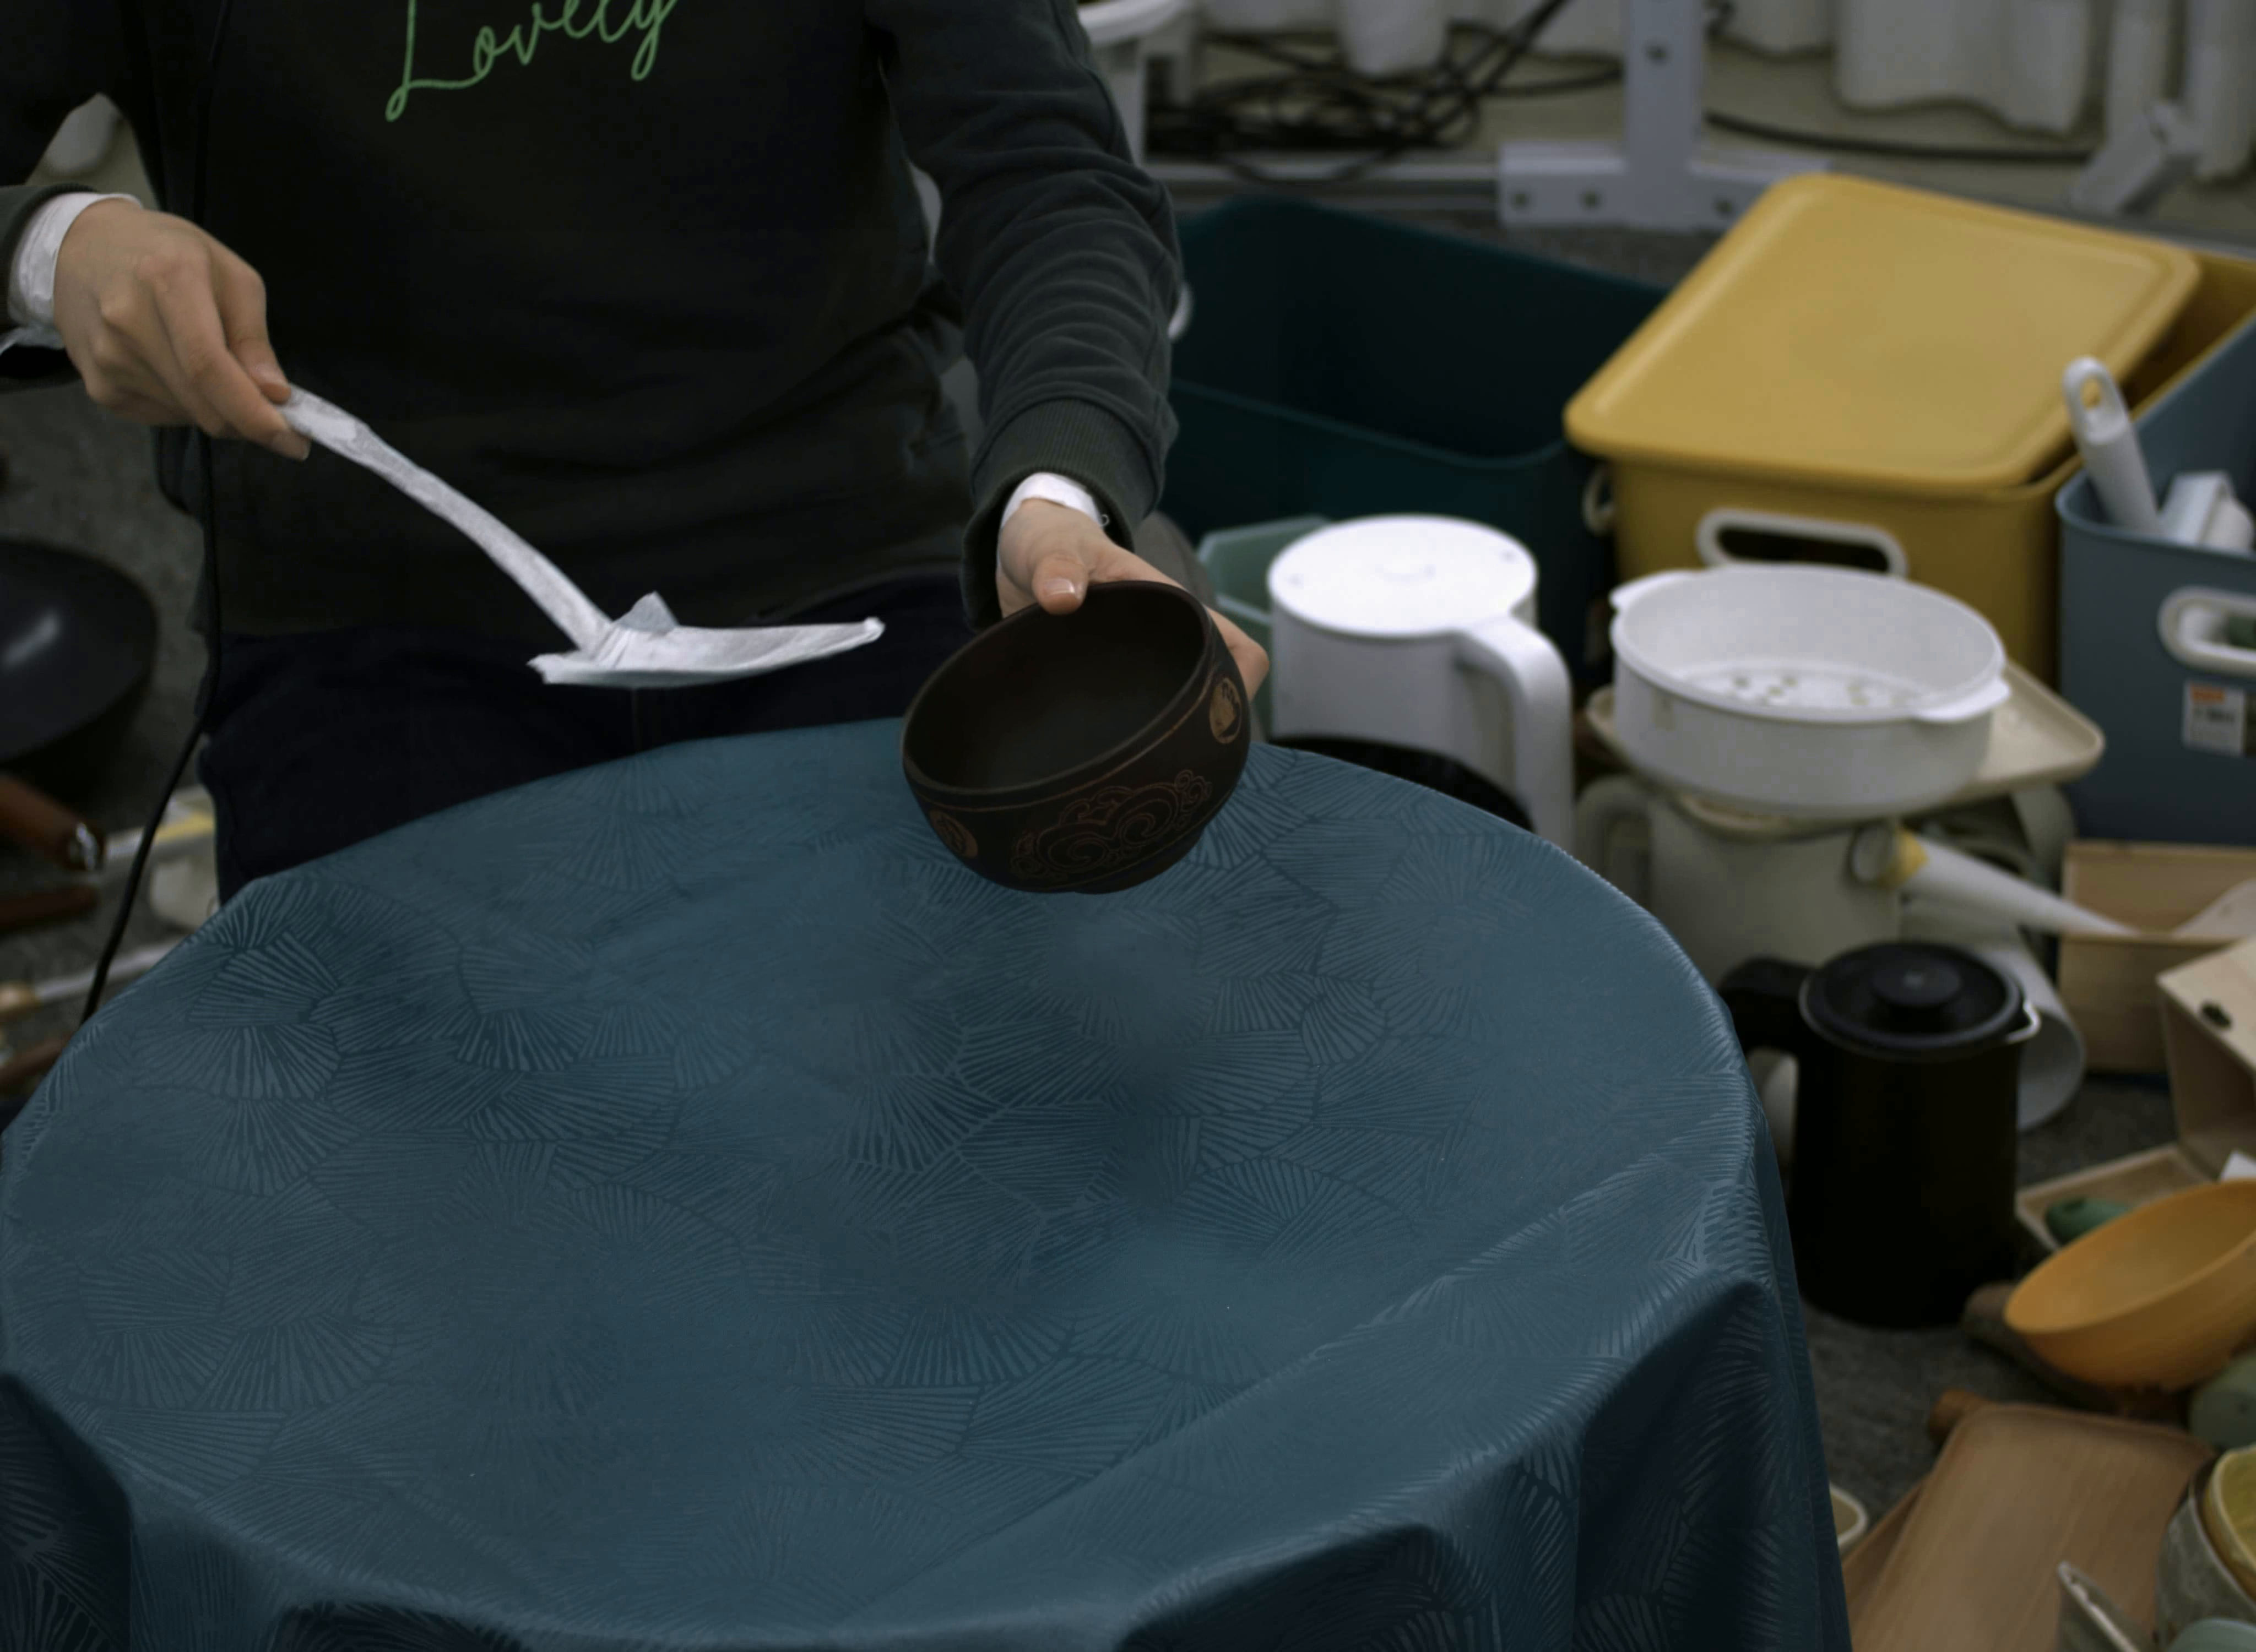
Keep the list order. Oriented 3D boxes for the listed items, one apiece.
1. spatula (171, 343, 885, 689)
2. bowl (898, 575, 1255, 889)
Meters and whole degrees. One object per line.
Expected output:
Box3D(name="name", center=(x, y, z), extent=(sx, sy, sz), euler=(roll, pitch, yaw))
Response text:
Box3D(name="spatula", center=(-0.220, -0.109, 1.853), extent=(0.099, 0.044, 0.366), euler=(-14, 33, -39))
Box3D(name="bowl", center=(-0.011, -0.023, 1.884), extent=(0.117, 0.069, 0.120), euler=(-18, 30, 11))
